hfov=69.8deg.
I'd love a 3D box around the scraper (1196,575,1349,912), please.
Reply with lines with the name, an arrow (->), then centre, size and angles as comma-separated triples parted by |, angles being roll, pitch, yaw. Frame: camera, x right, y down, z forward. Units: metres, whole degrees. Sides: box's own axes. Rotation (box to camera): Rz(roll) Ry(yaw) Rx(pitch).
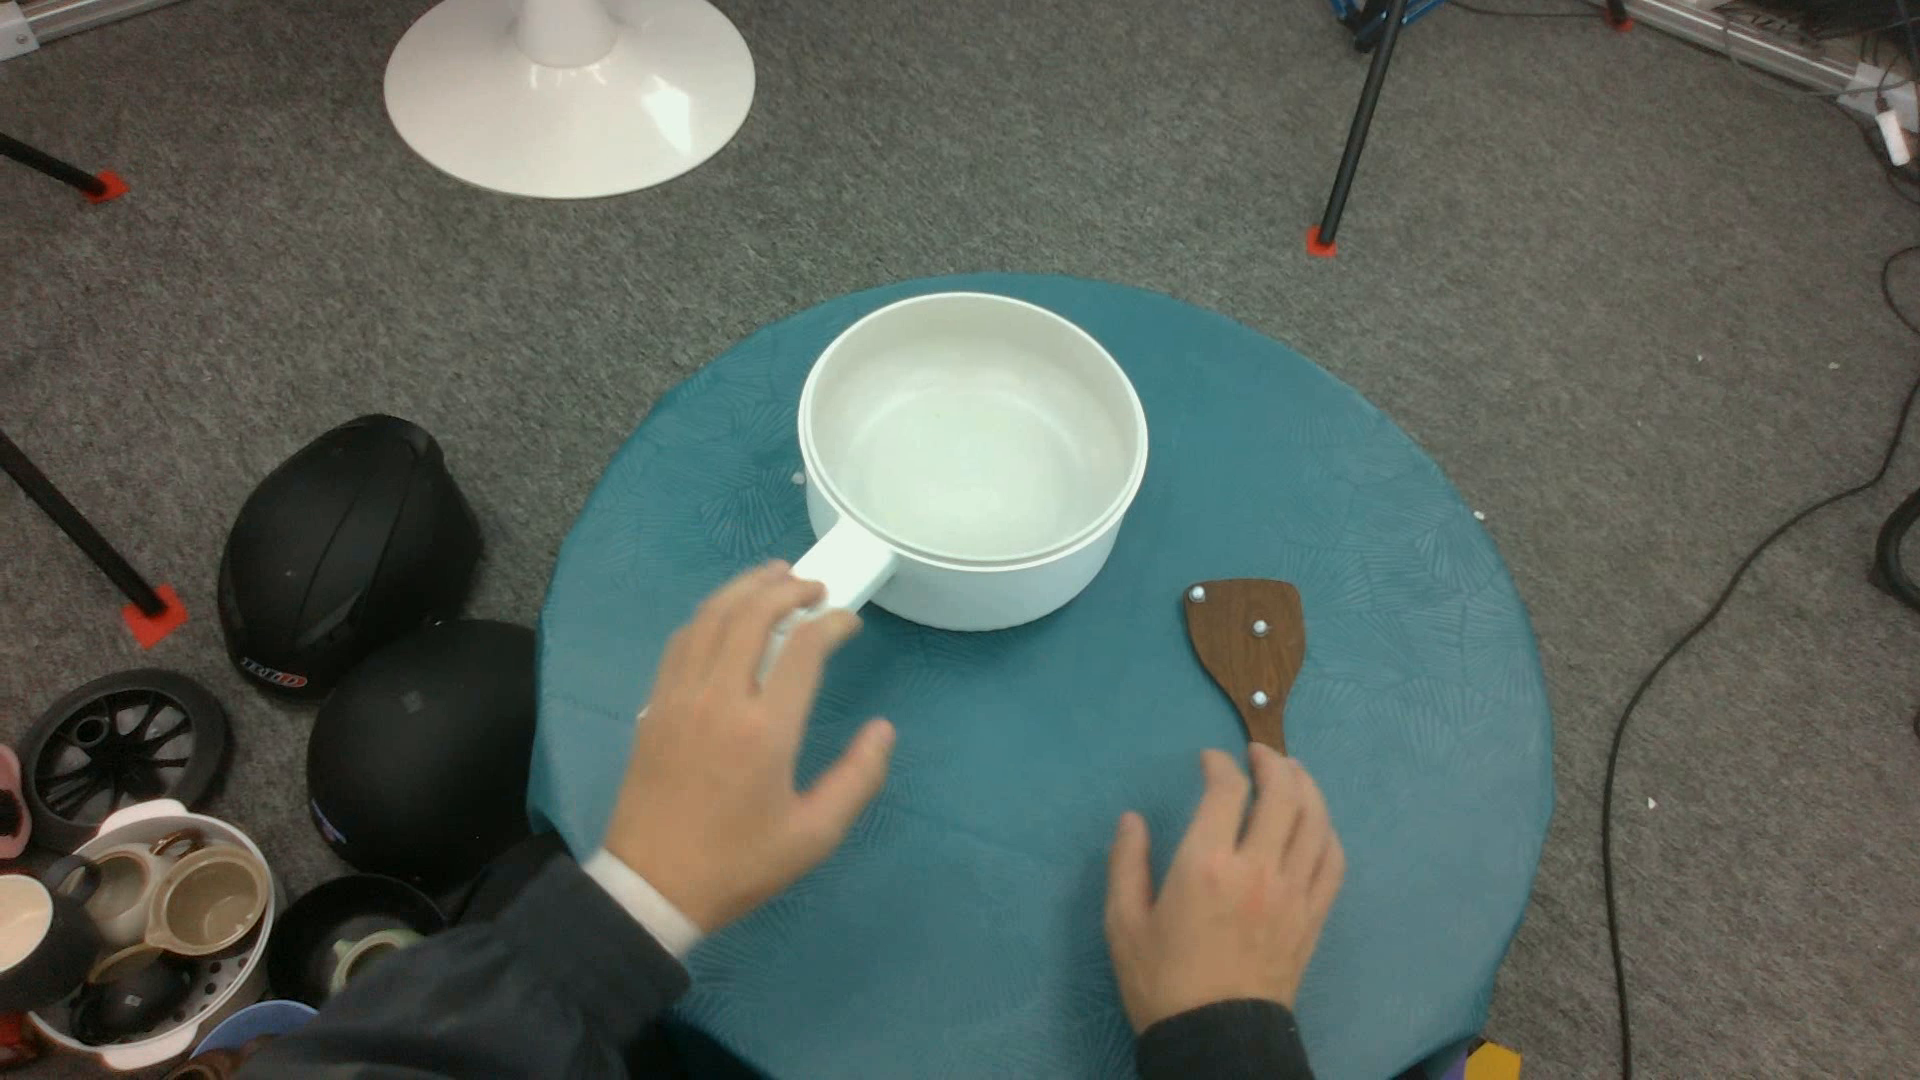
scraper -> 0.190, 0.112, 0.801 | 0.076, 0.011, 0.212 | -2, 57, -4

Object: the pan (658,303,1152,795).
pan -> -0.034, 0.014, 0.800 | 0.201, 0.101, 0.356 | 31, 61, 17
